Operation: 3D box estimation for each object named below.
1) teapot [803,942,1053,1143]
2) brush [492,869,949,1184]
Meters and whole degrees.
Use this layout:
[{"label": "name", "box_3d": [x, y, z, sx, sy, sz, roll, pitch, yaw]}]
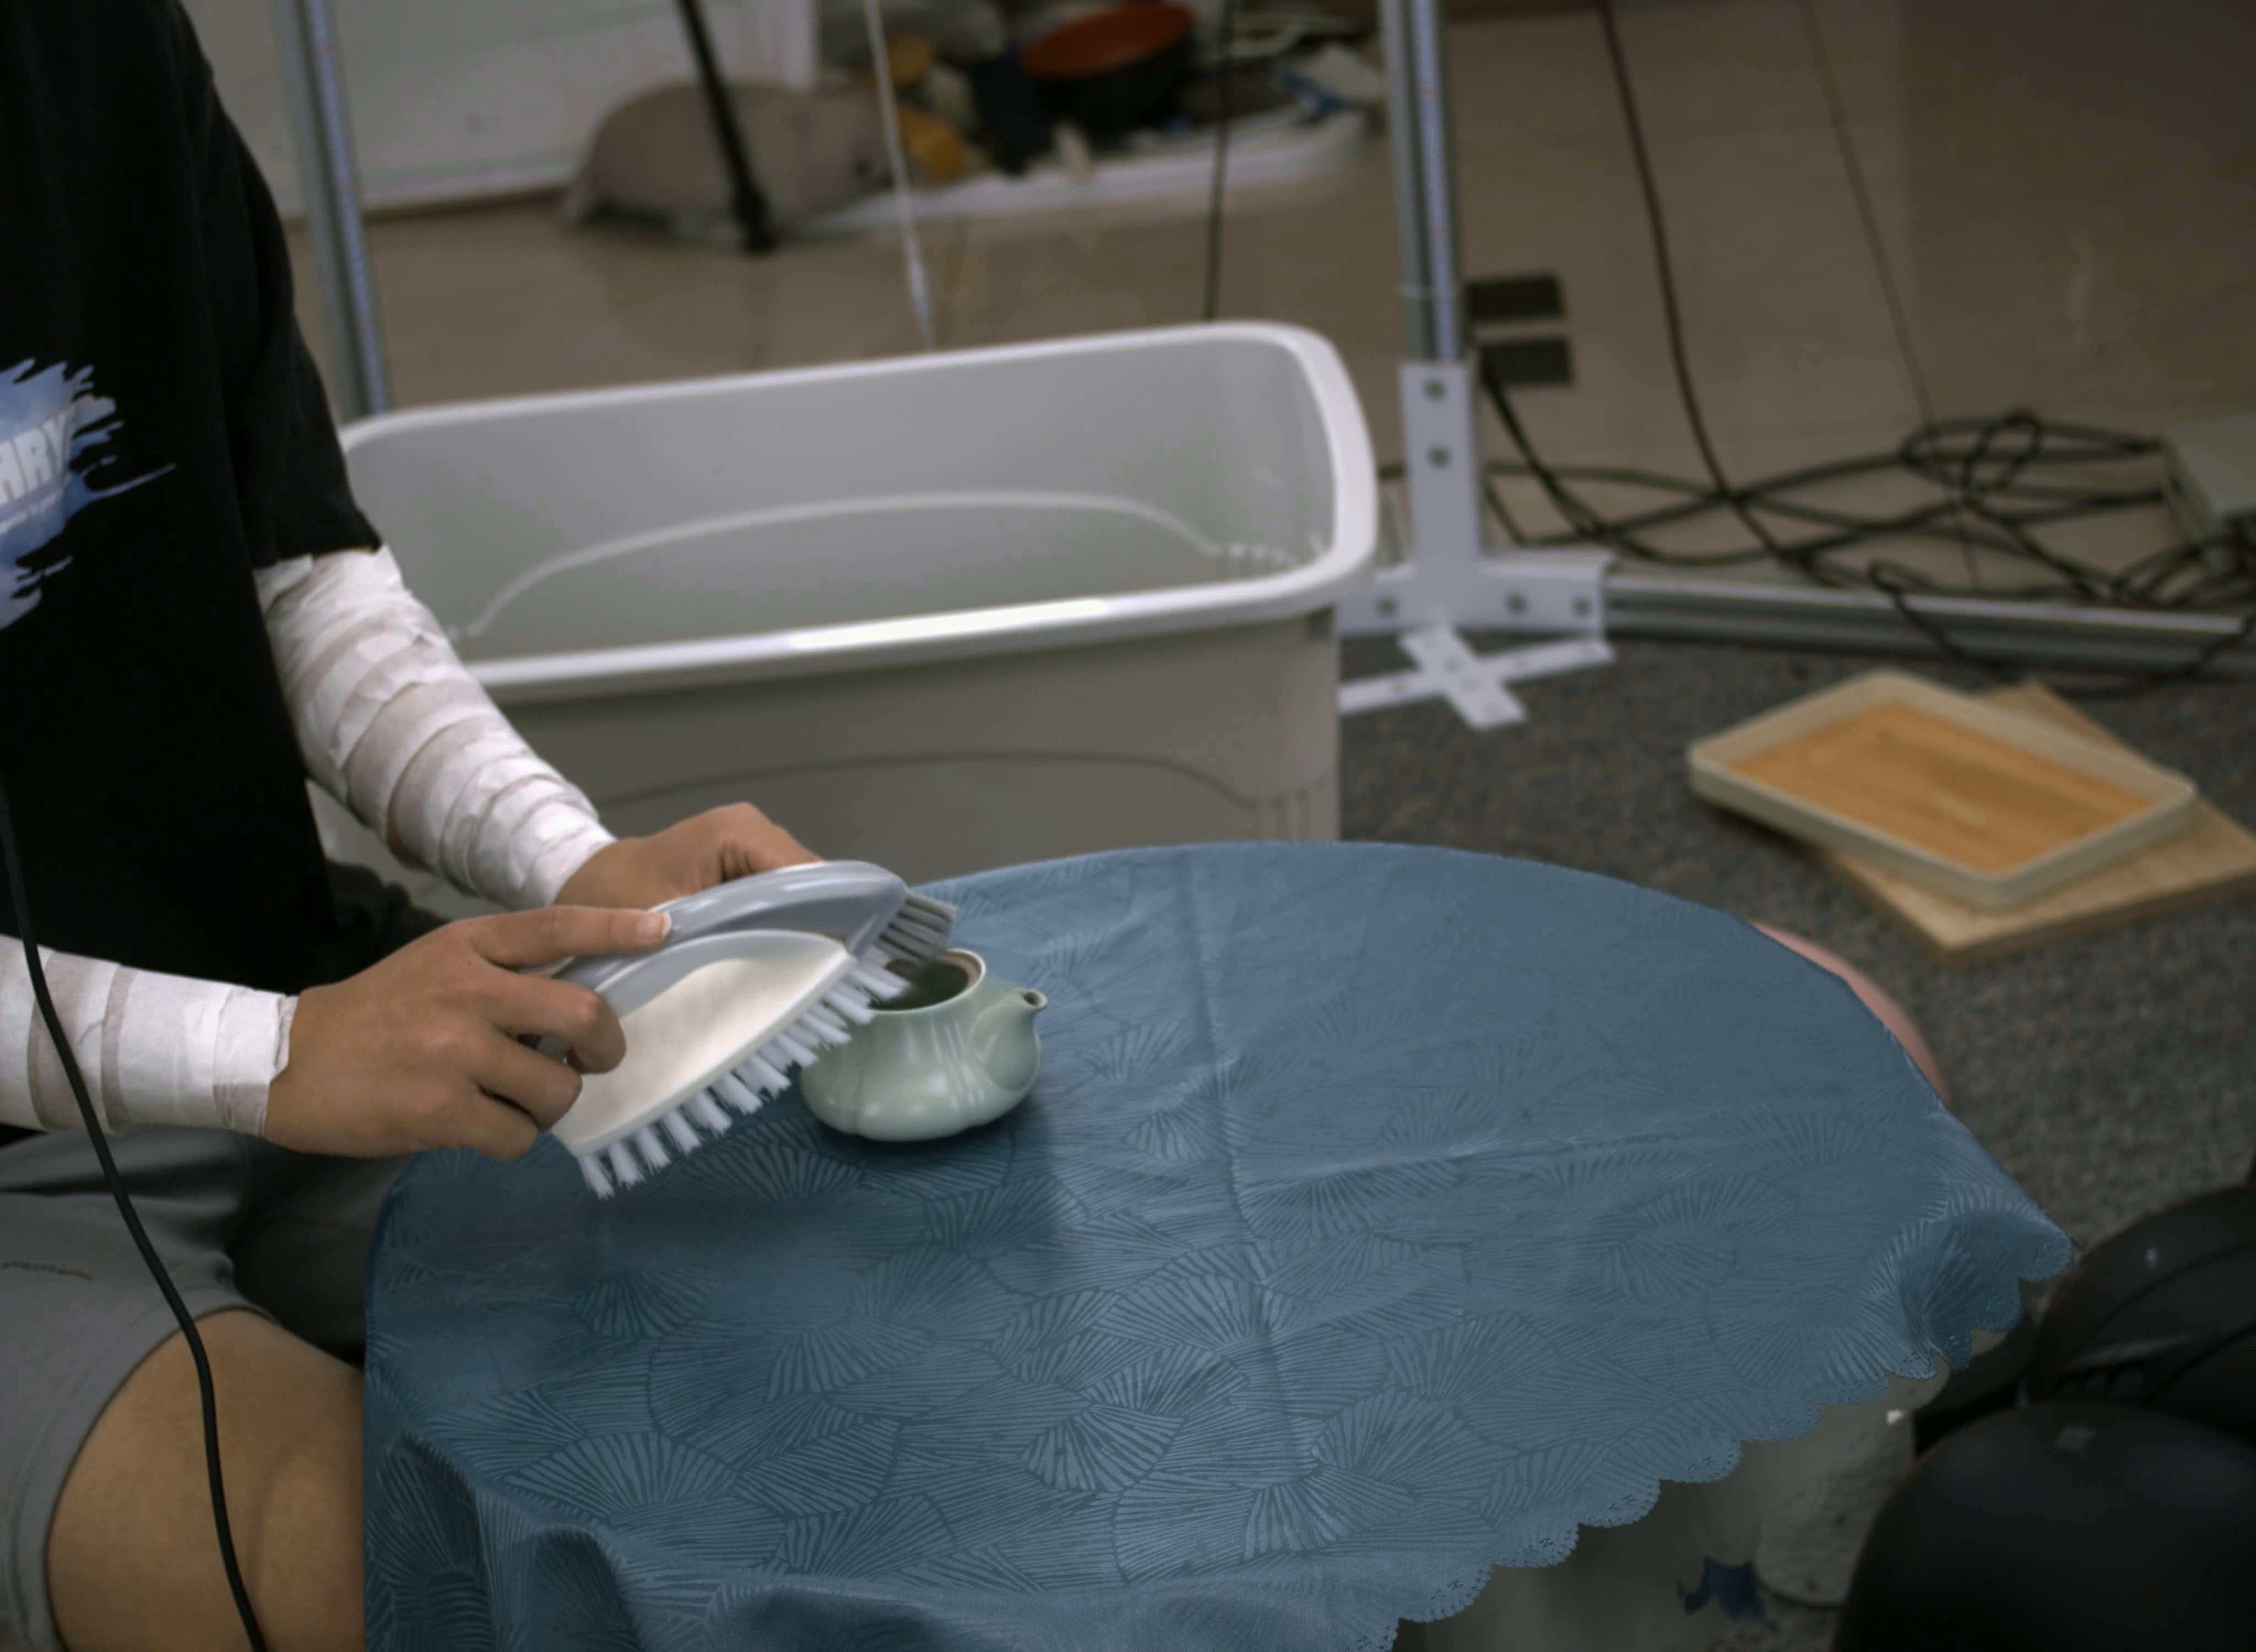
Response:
[{"label": "teapot", "box_3d": [-0.086, 0.082, 2.219, 0.136, 0.062, 0.095, 9, 31, 30]}, {"label": "brush", "box_3d": [-0.158, 0.059, 2.128, 0.176, 0.095, 0.060, -29, 53, 10]}]
